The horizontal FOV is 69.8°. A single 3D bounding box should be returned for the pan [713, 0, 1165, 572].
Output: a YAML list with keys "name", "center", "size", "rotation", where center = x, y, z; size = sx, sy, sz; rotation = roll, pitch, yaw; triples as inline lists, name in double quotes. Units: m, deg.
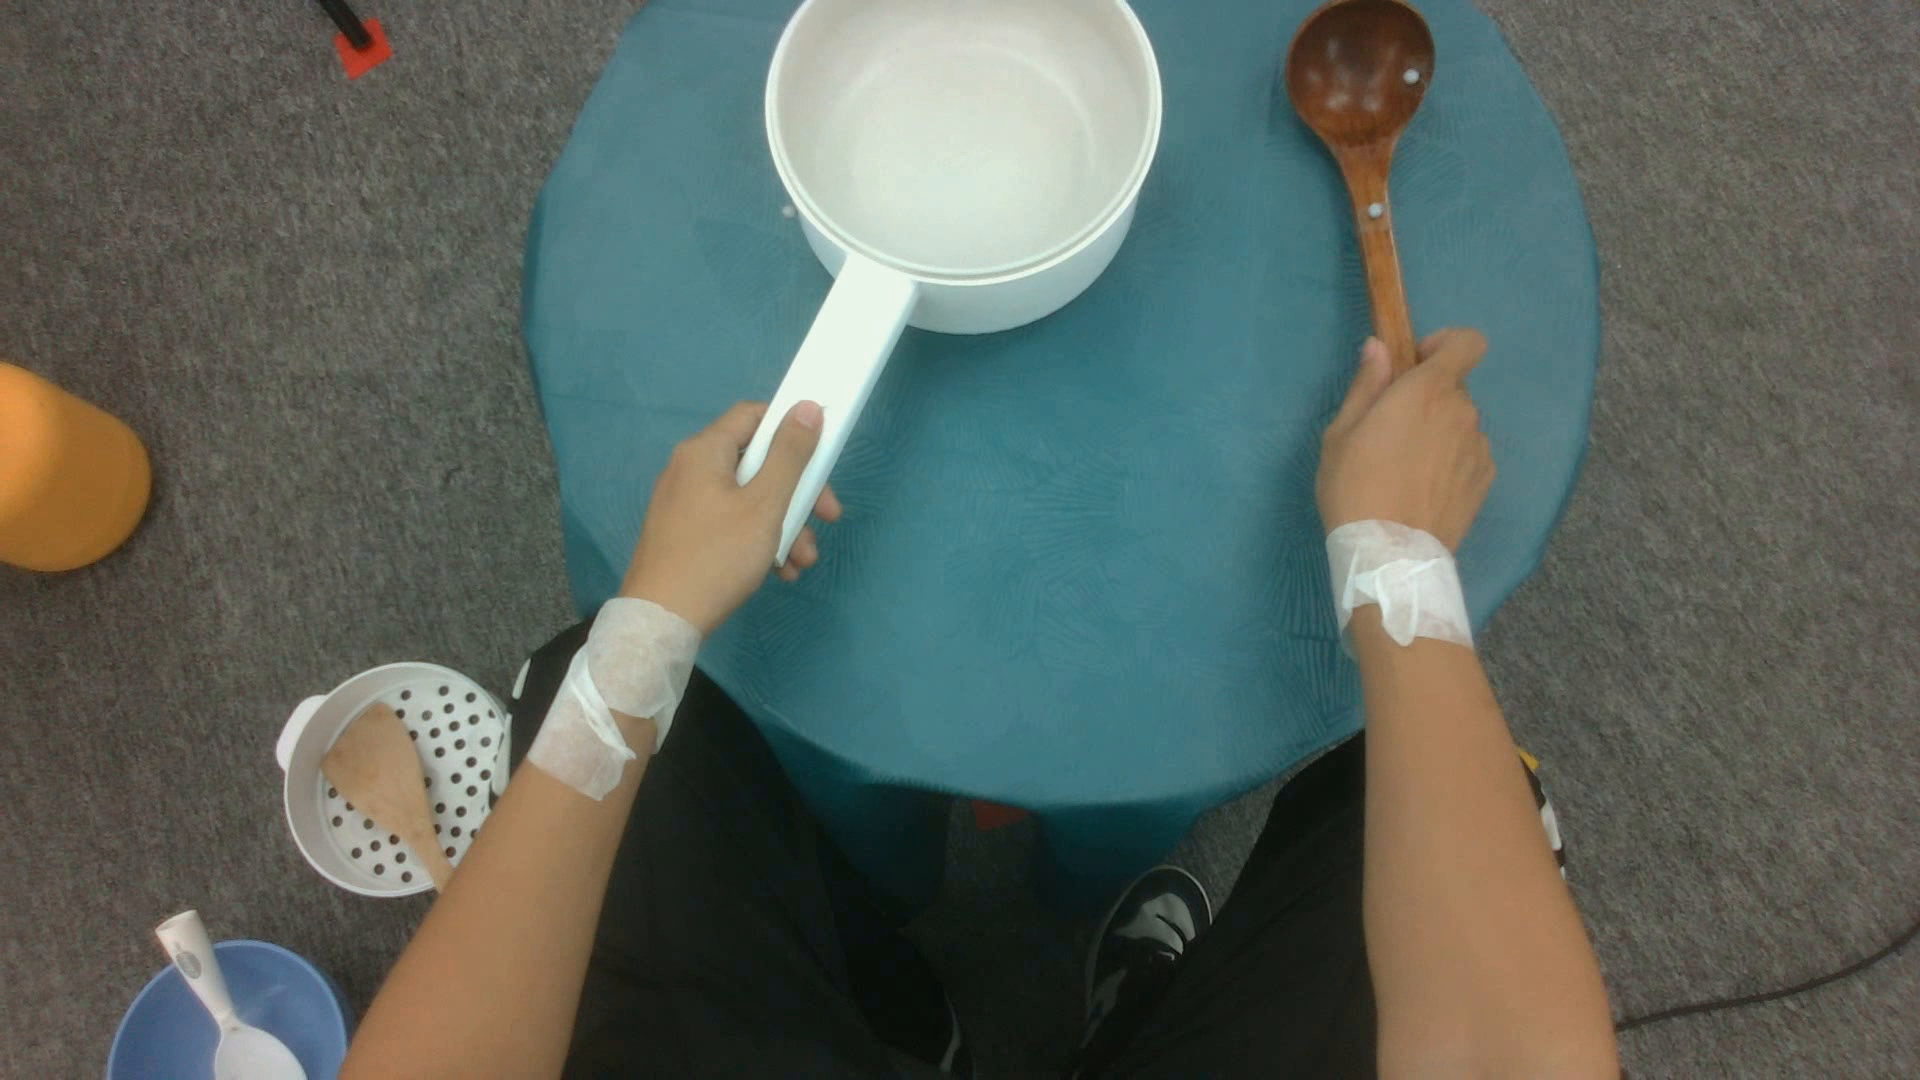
- name: "pan"
  center: [-0.025, -0.141, 0.744]
  size: [0.201, 0.102, 0.355]
  rotation: [24, 78, 7]

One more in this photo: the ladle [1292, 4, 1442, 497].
- name: "ladle"
  center: [0.229, -0.163, 0.742]
  size: [0.082, 0.076, 0.275]
  rotation: [-6, 67, 17]
